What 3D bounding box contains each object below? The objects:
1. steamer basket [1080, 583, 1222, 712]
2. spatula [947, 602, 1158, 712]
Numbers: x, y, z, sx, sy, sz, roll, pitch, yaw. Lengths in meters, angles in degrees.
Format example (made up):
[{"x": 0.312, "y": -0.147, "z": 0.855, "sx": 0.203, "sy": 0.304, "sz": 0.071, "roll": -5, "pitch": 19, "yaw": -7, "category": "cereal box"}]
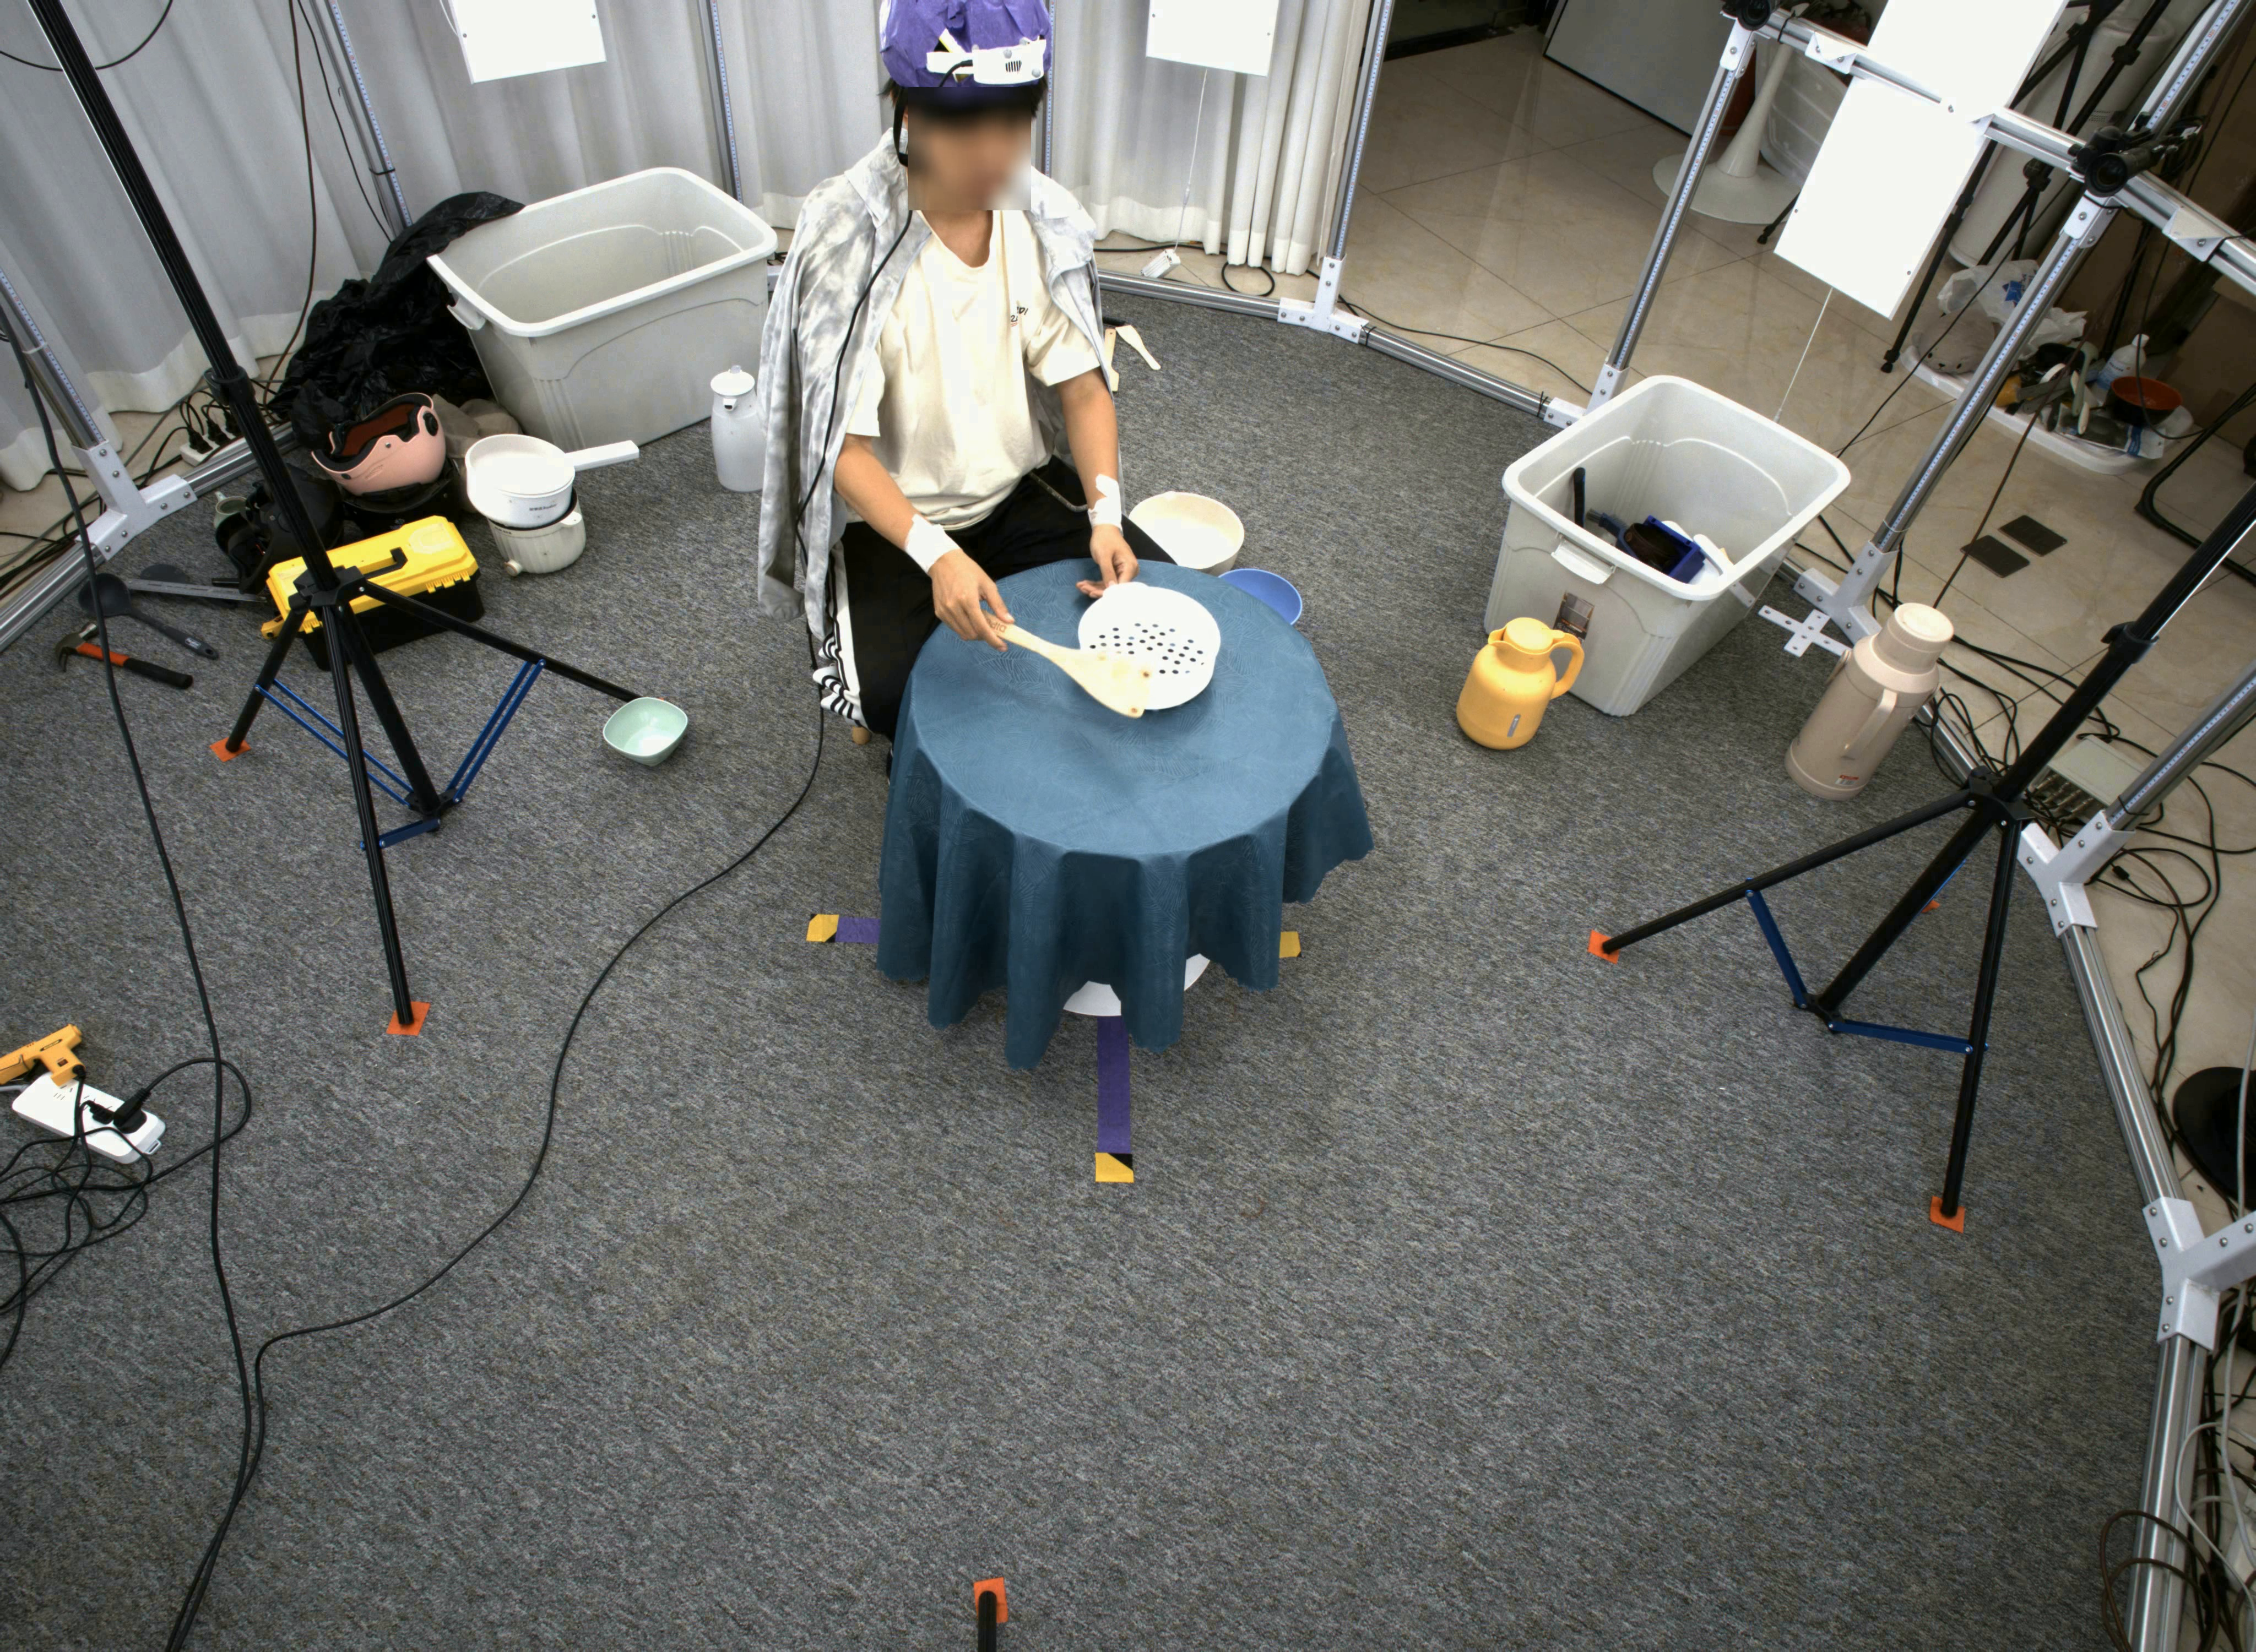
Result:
[{"x": 0.030, "y": -0.251, "z": 1.836, "sx": 0.202, "sy": 0.067, "sz": 0.236, "roll": -12, "pitch": 52, "yaw": -17, "category": "steamer basket"}, {"x": -0.105, "y": -0.242, "z": 1.730, "sx": 0.330, "sy": 0.016, "sz": 0.080, "roll": 23, "pitch": 85, "yaw": 19, "category": "spatula"}]
